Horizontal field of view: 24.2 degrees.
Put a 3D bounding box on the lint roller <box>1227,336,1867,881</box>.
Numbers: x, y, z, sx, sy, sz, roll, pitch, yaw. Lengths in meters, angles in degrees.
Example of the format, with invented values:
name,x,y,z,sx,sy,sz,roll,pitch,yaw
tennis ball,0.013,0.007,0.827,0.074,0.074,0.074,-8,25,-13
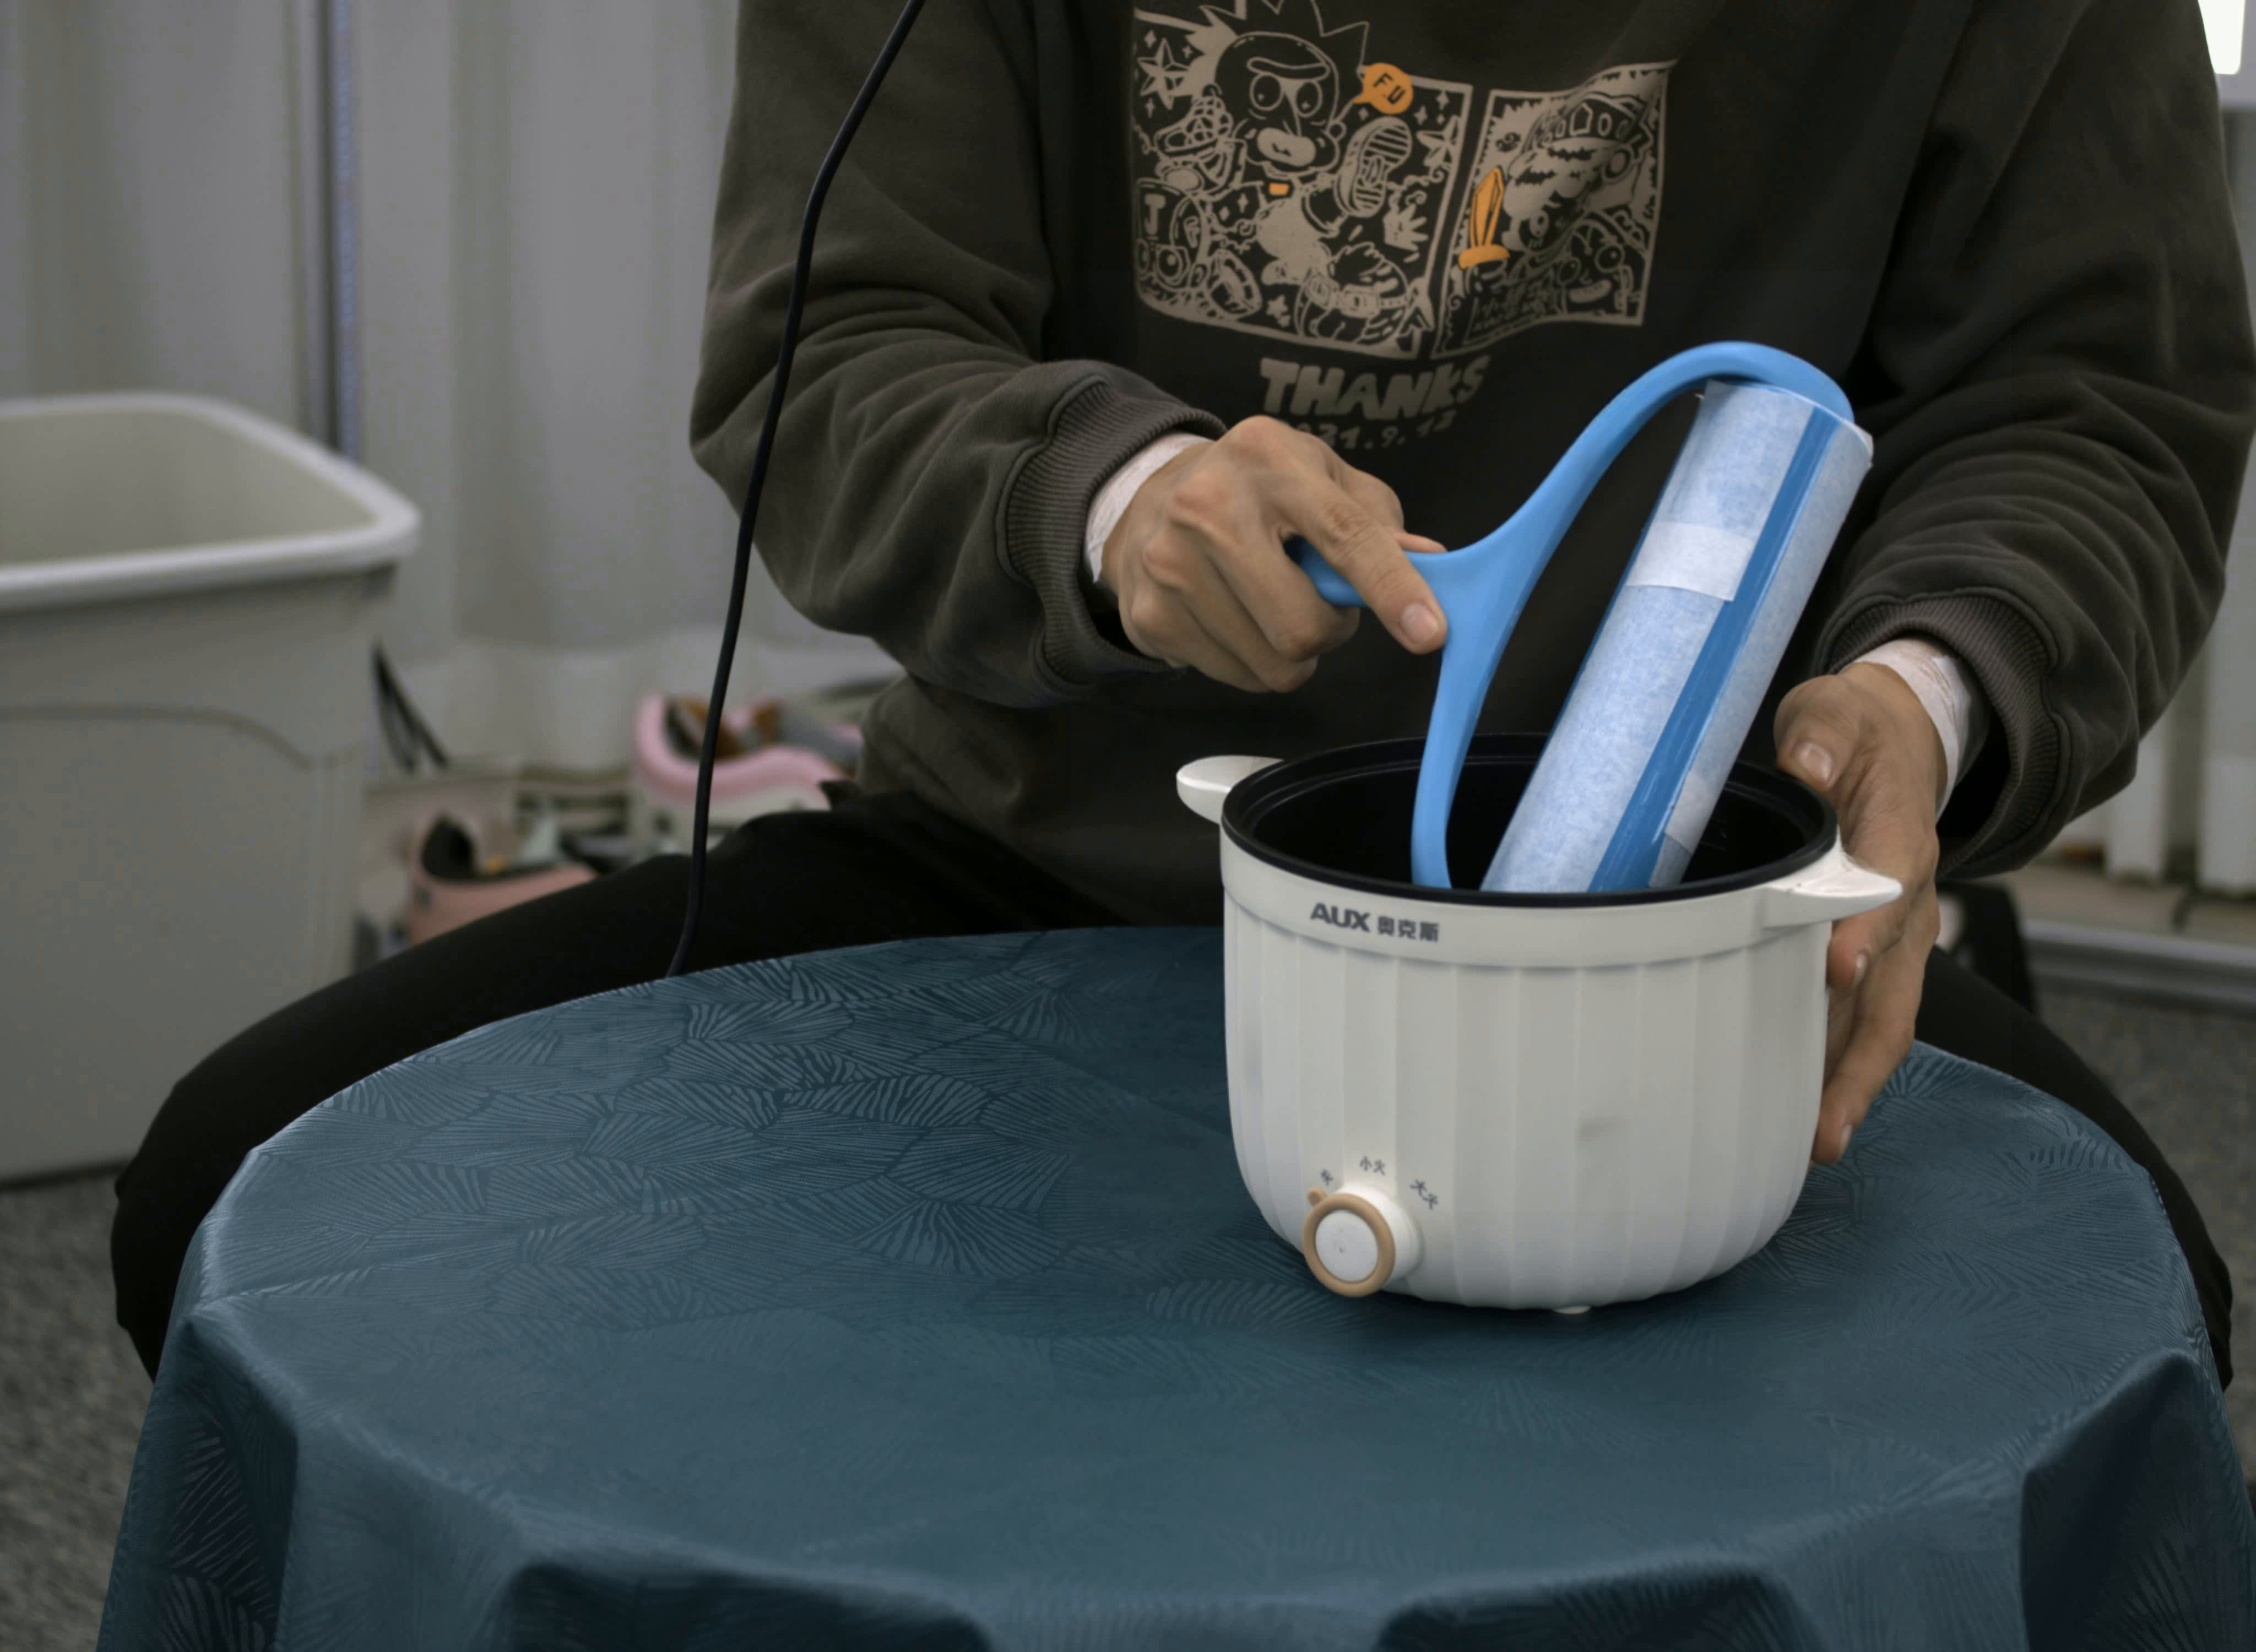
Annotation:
name,x,y,z,sx,sy,sz,roll,pitch,yaw
lint roller,0.105,-0.056,1.579,0.178,0.229,0.068,17,-15,18

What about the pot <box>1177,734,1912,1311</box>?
name,x,y,z,sx,sy,sz,roll,pitch,yaw
pot,0.116,0.060,1.562,0.237,0.143,0.191,9,15,31
